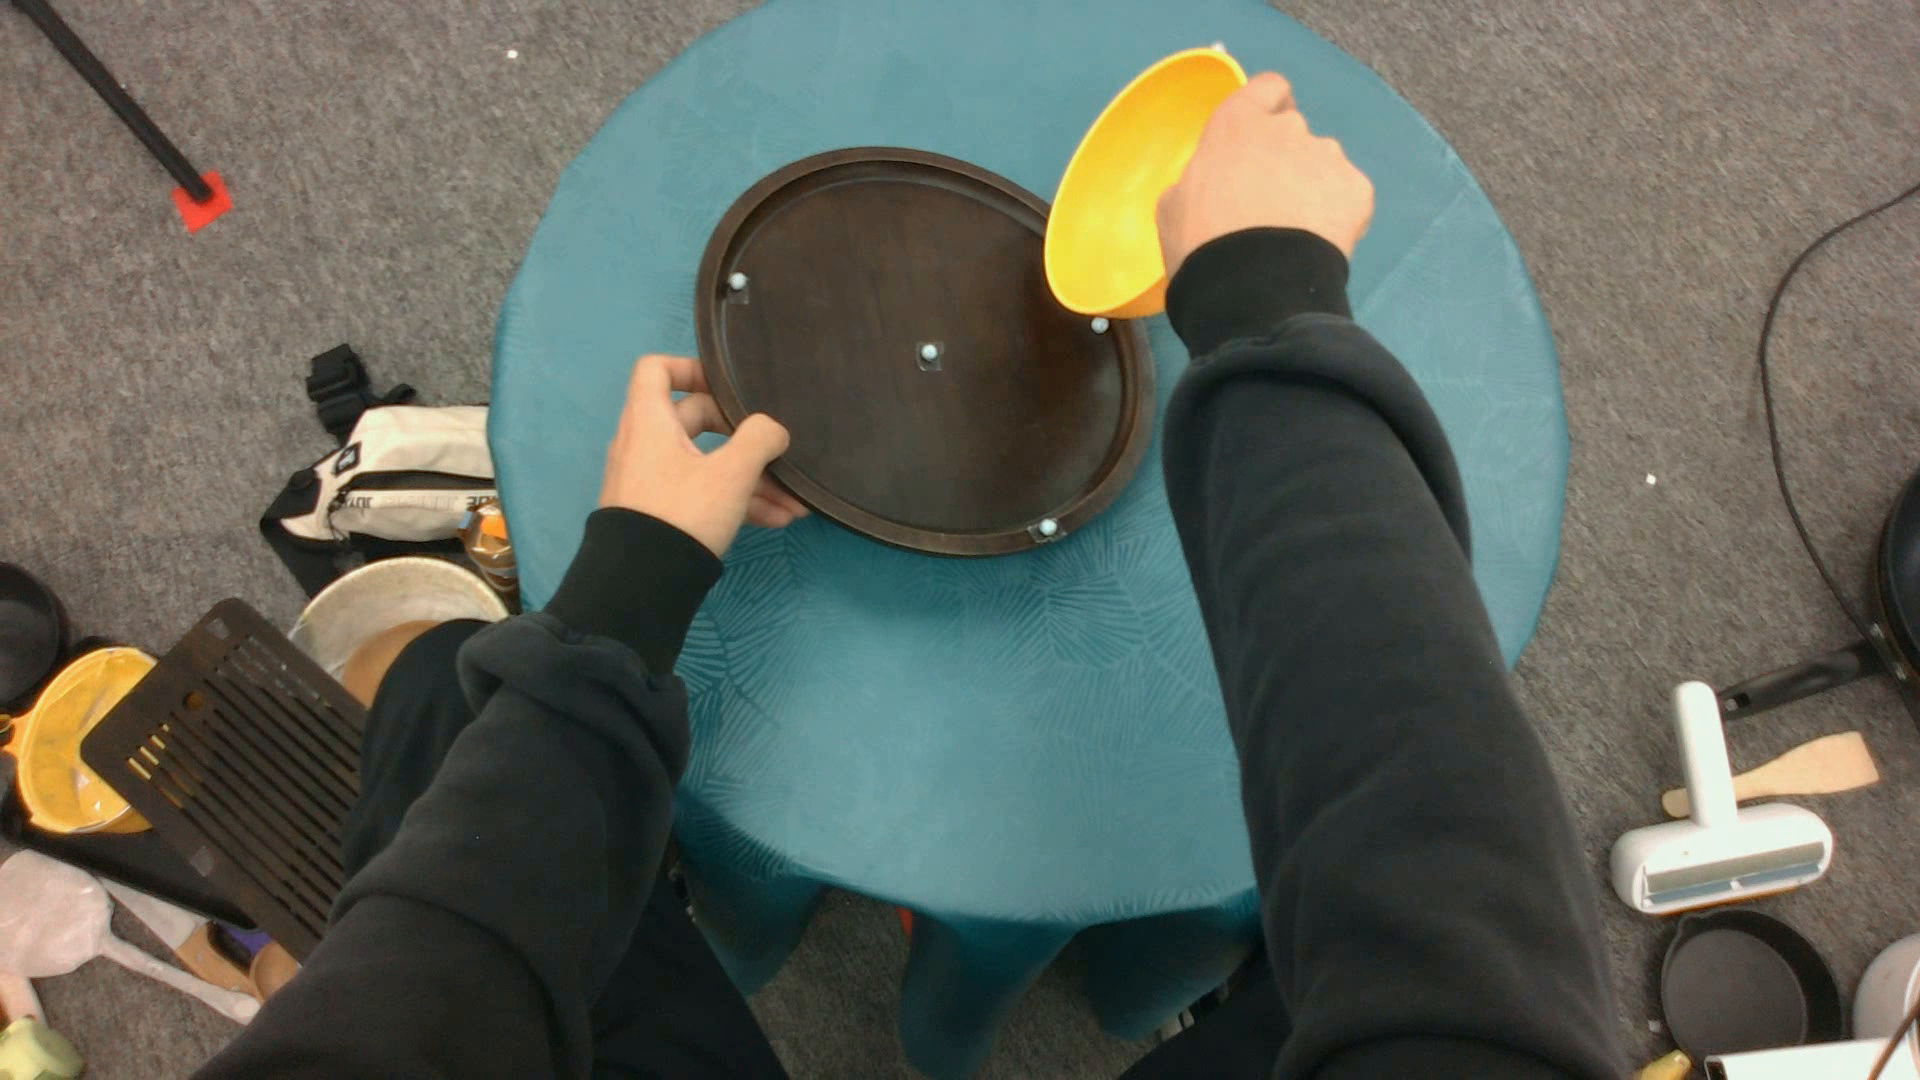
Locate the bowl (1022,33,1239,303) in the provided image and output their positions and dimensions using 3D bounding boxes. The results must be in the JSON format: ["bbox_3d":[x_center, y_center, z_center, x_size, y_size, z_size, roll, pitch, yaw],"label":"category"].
[{"bbox_3d":[0.099,-0.185,0.724,0.060,0.144,0.146,18,66,-34],"label":"bowl"}]

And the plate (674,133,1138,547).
[{"bbox_3d":[-0.024,-0.110,0.726,0.255,0.029,0.255,9,63,-18],"label":"plate"}]
